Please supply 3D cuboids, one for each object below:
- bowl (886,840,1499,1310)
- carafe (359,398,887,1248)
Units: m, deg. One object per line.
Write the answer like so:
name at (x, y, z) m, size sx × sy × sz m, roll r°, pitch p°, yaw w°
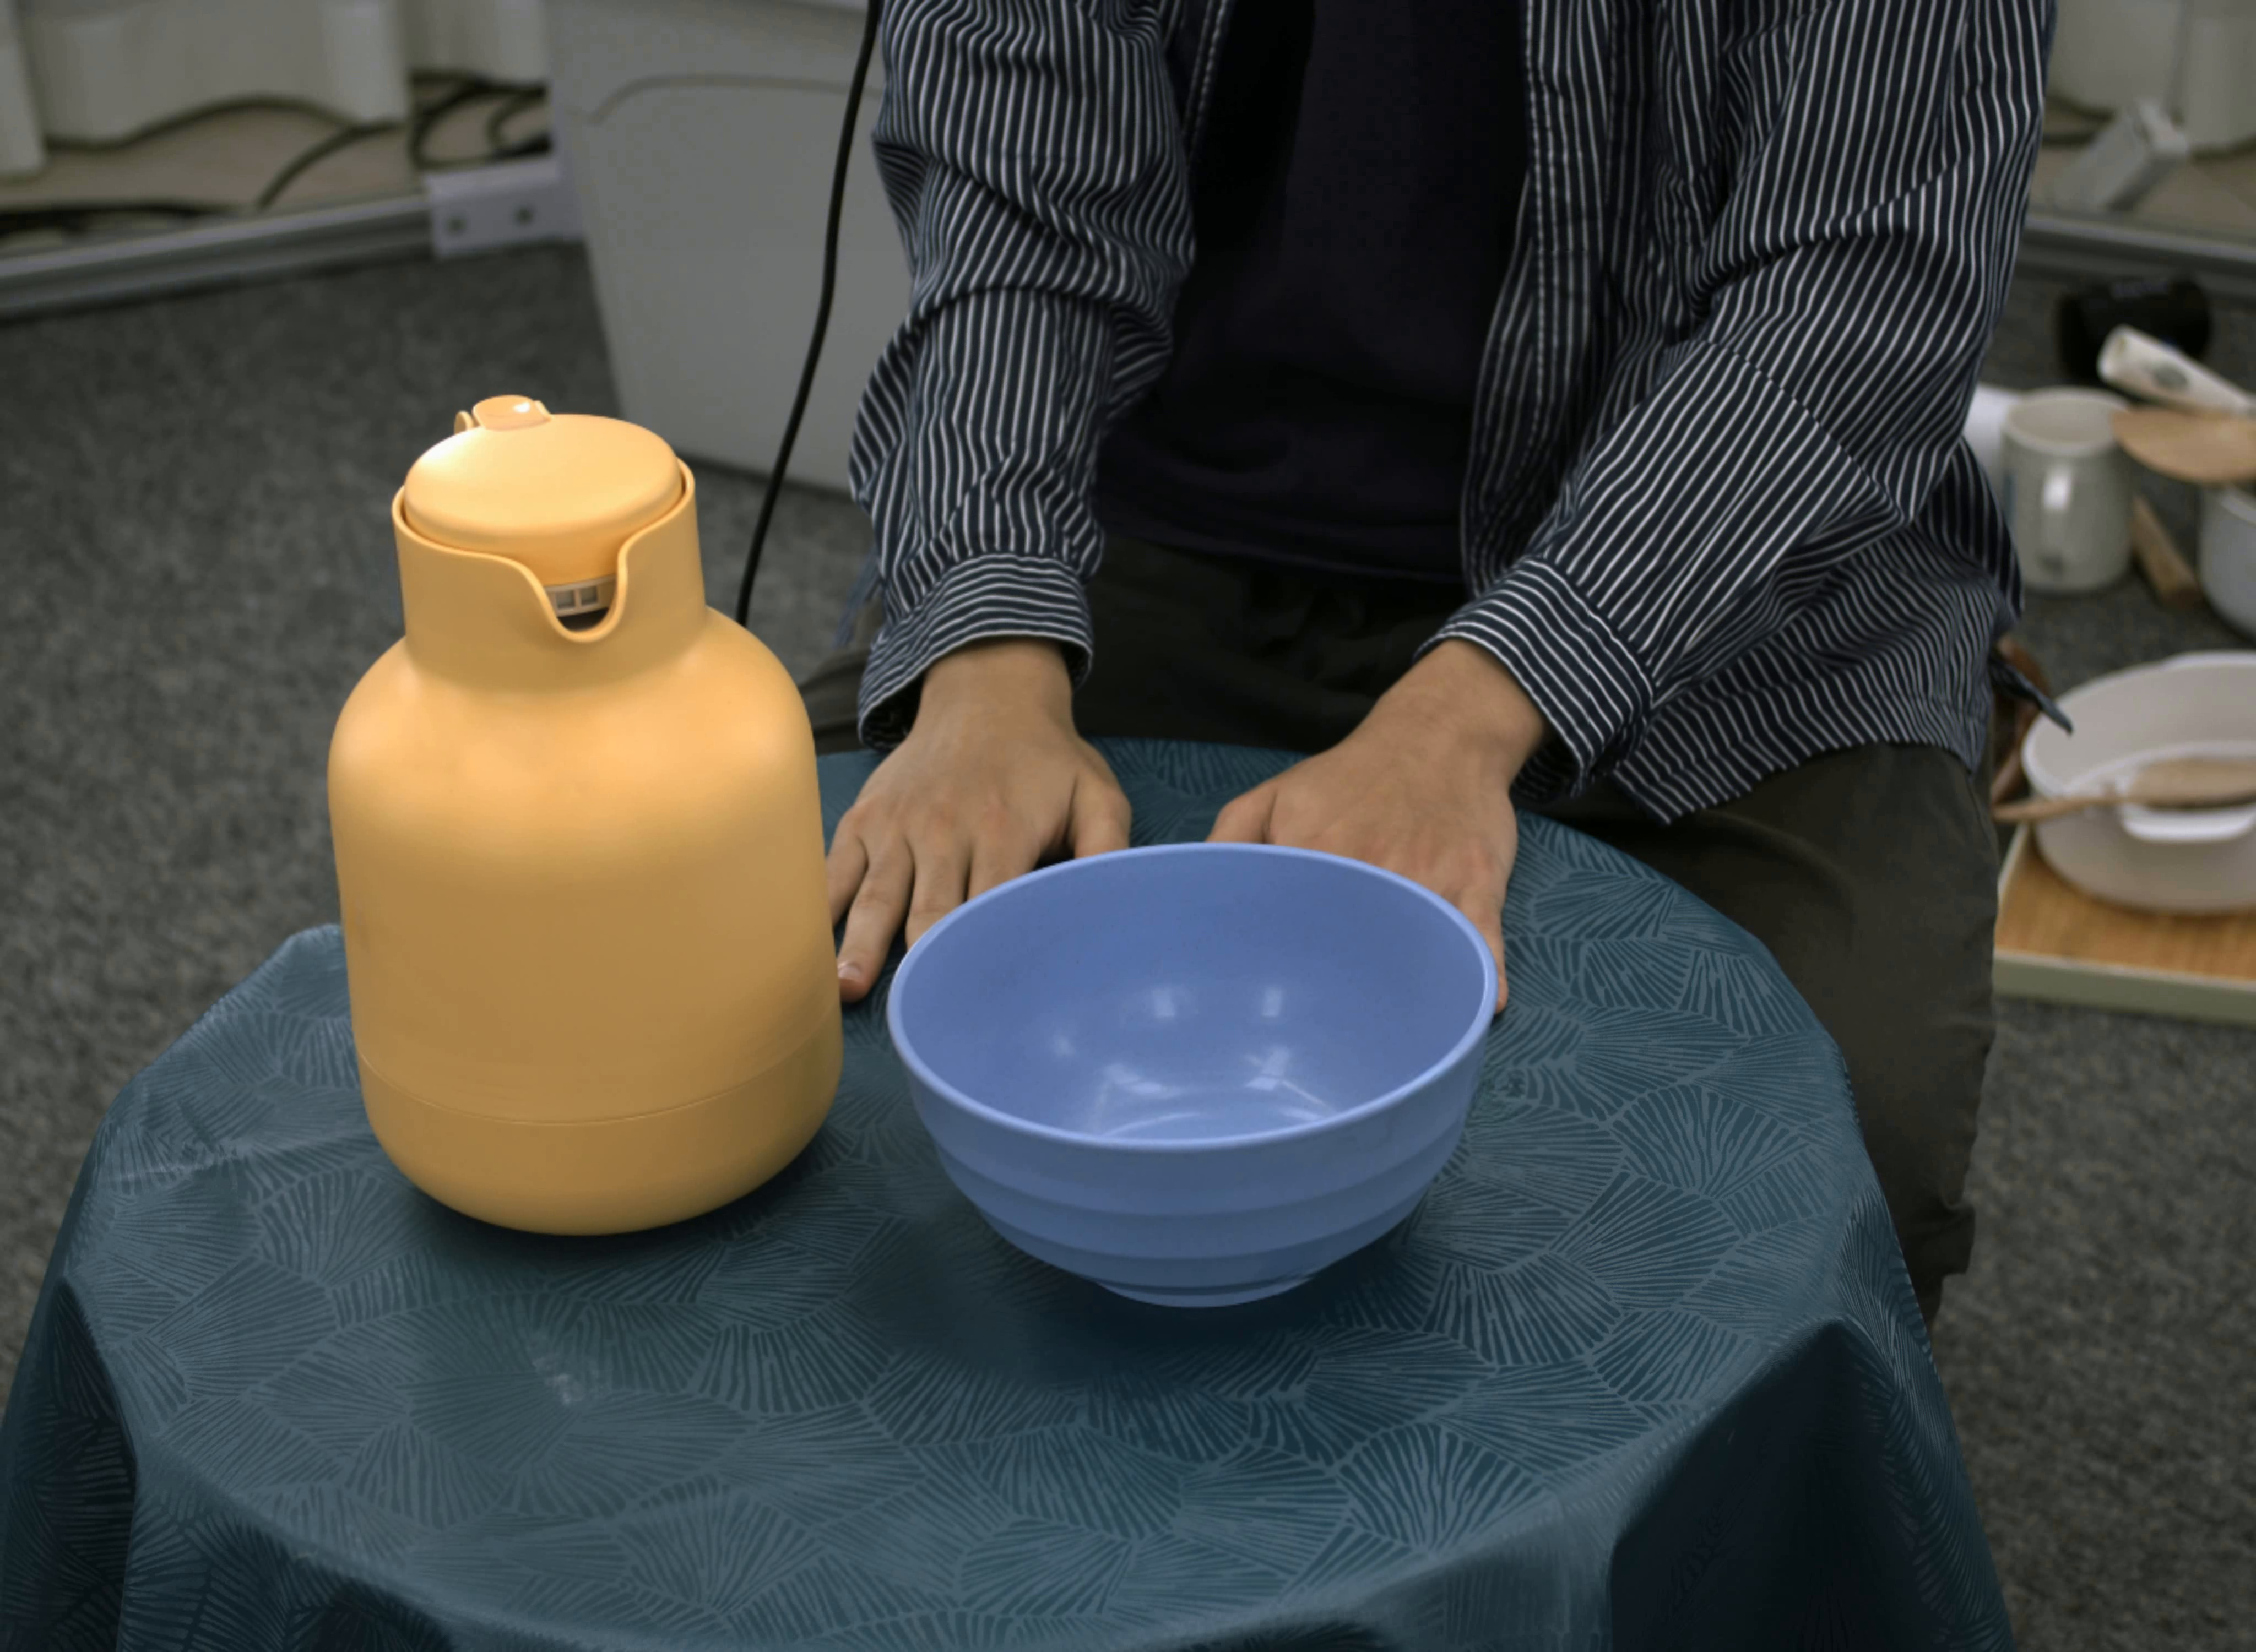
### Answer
bowl at (0.023, 0.092, 1.810) m, size 0.195 × 0.094 × 0.199 m, roll -2°, pitch 28°, yaw 2°
carafe at (-0.172, -0.011, 1.850) m, size 0.163 × 0.258 × 0.204 m, roll -10°, pitch 27°, yaw -13°
